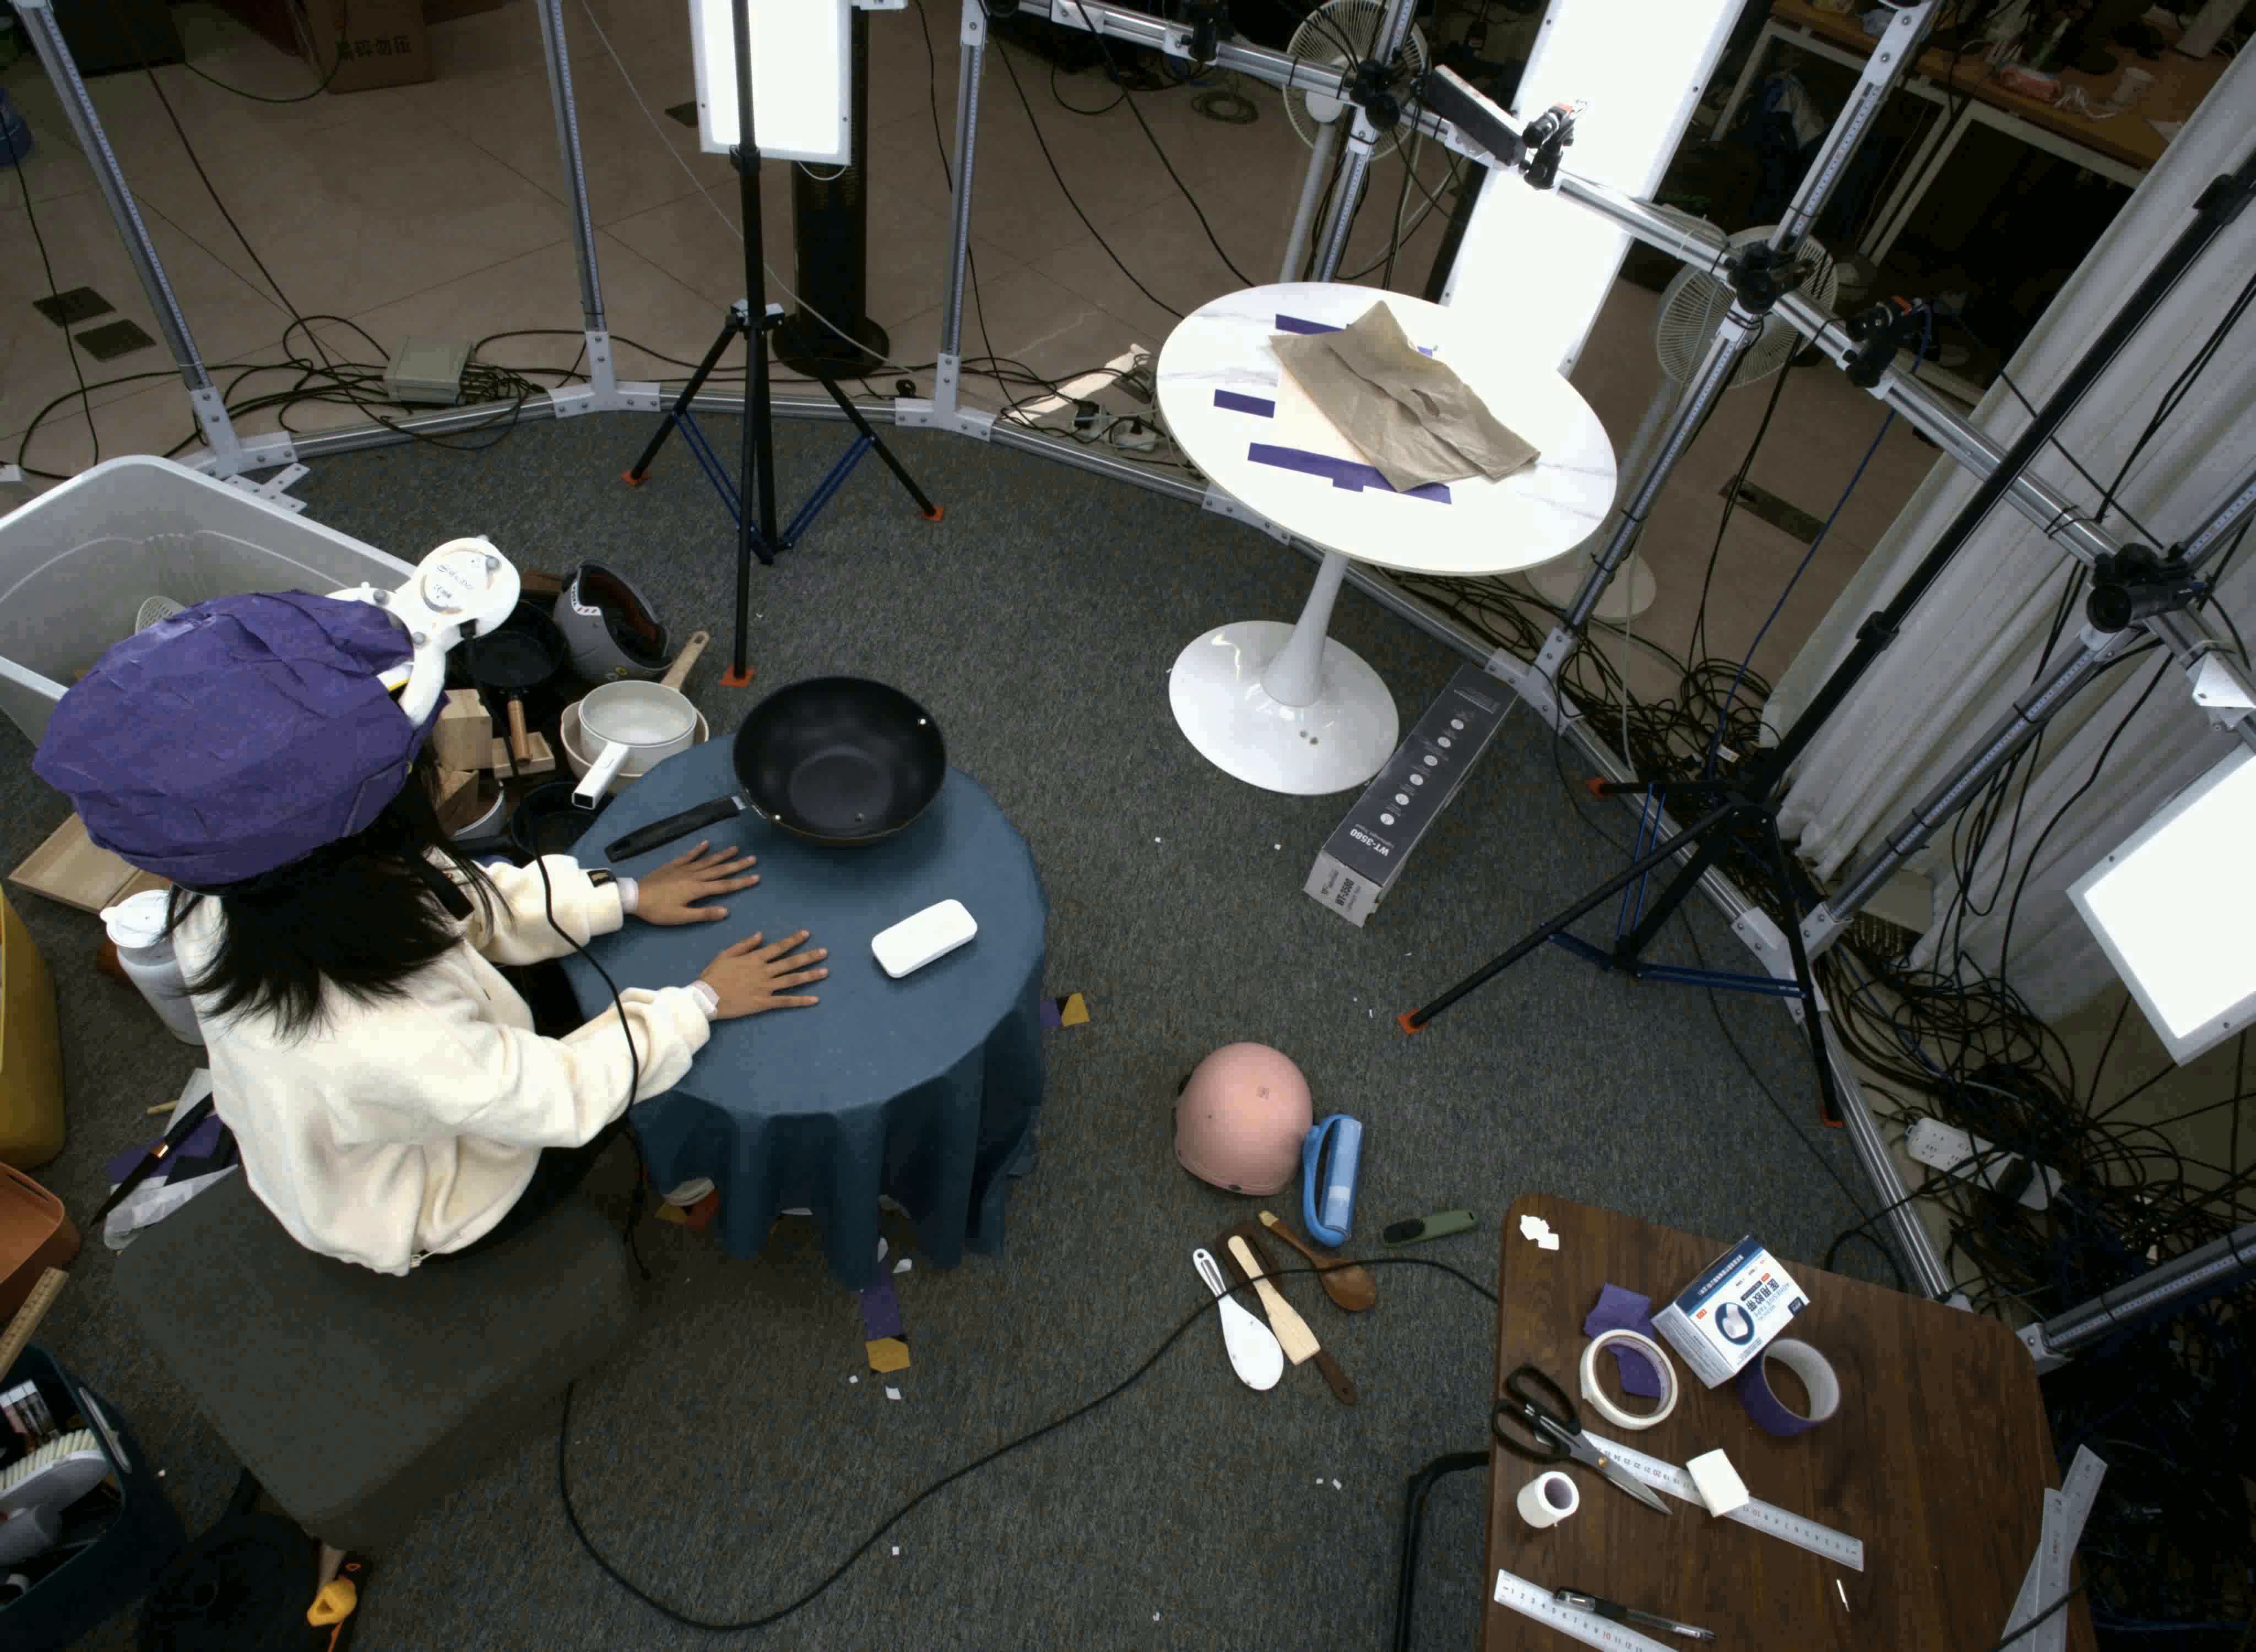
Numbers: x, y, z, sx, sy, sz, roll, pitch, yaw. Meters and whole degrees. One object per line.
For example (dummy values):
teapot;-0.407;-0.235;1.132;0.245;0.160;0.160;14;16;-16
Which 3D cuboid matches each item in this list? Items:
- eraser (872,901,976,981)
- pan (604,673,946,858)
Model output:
eraser;-0.257;0.140;1.639;0.132;0.035;0.062;-28;61;-31
pan;-0.455;-0.038;1.686;0.465;0.089;0.281;-28;64;-29
